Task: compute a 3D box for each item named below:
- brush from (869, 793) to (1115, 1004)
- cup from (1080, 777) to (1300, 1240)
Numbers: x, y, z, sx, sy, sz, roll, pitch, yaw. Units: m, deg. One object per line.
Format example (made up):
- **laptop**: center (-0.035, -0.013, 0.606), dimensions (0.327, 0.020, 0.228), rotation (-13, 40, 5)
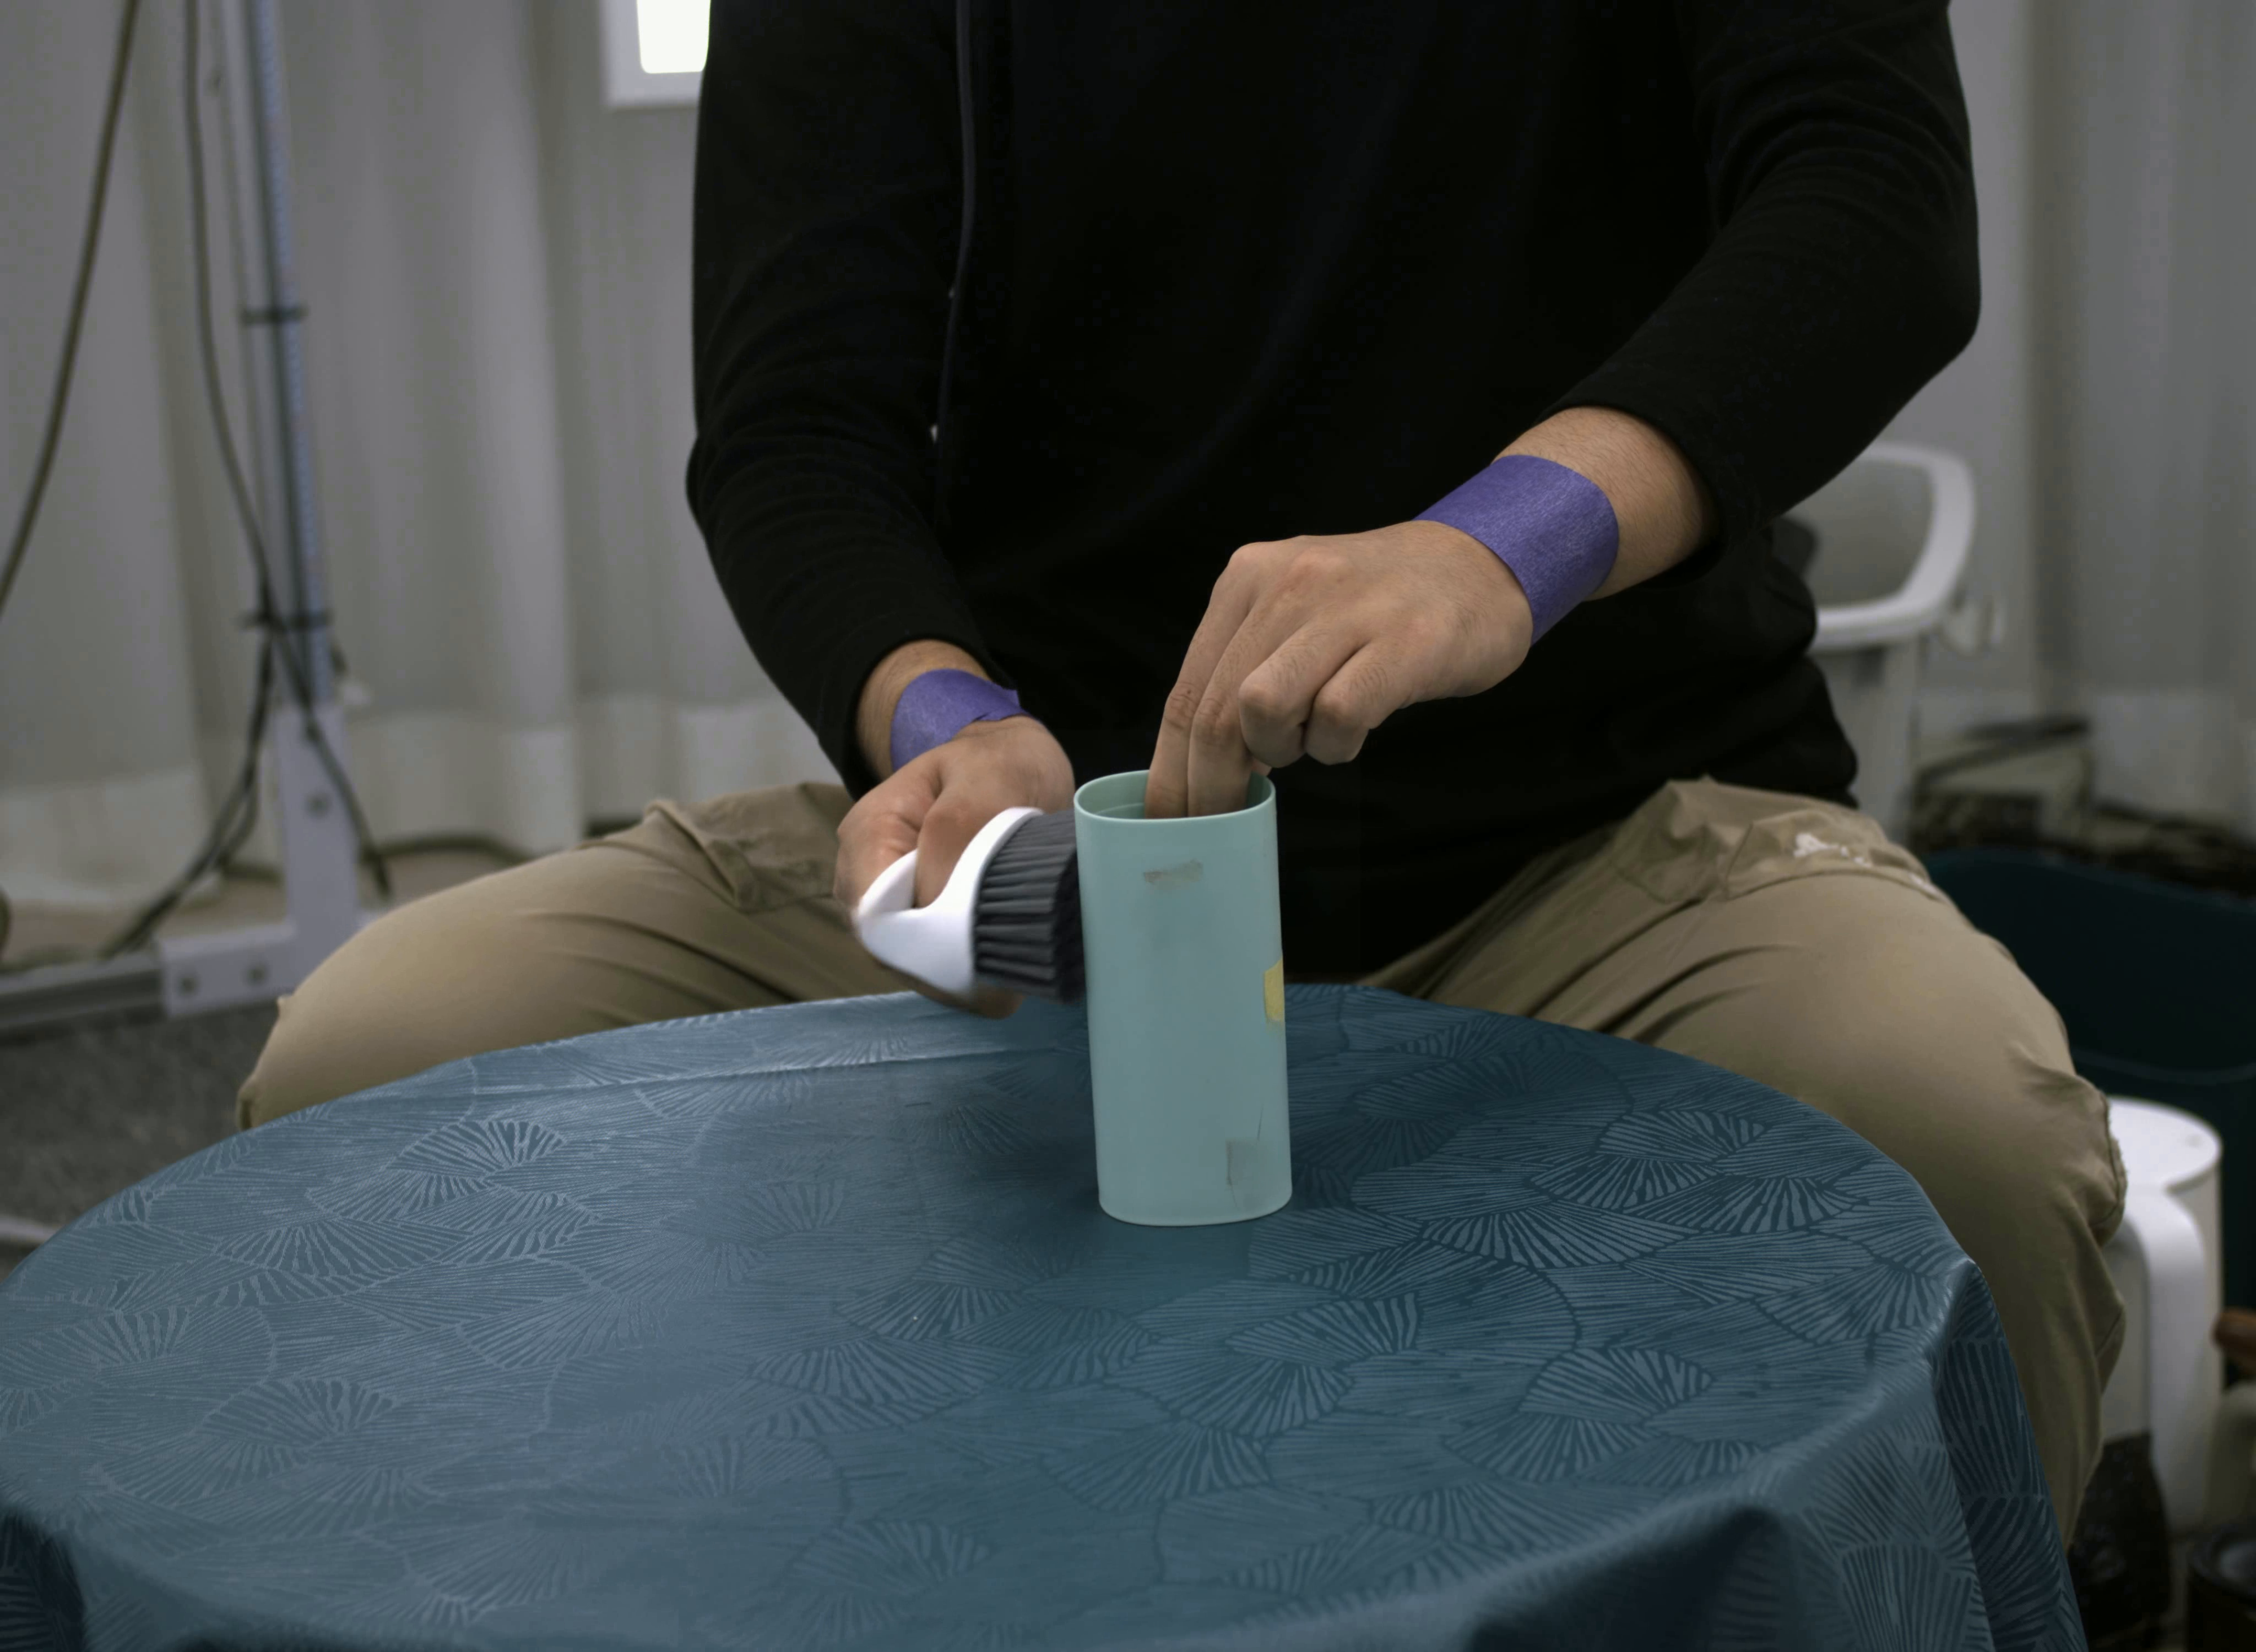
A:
- **brush**: center (-0.044, 0.022, 1.732), dimensions (0.072, 0.050, 0.100), rotation (1, 20, 15)
- **cup**: center (0.019, 0.056, 1.694), dimensions (0.066, 0.132, 0.067), rotation (-3, 14, 1)
